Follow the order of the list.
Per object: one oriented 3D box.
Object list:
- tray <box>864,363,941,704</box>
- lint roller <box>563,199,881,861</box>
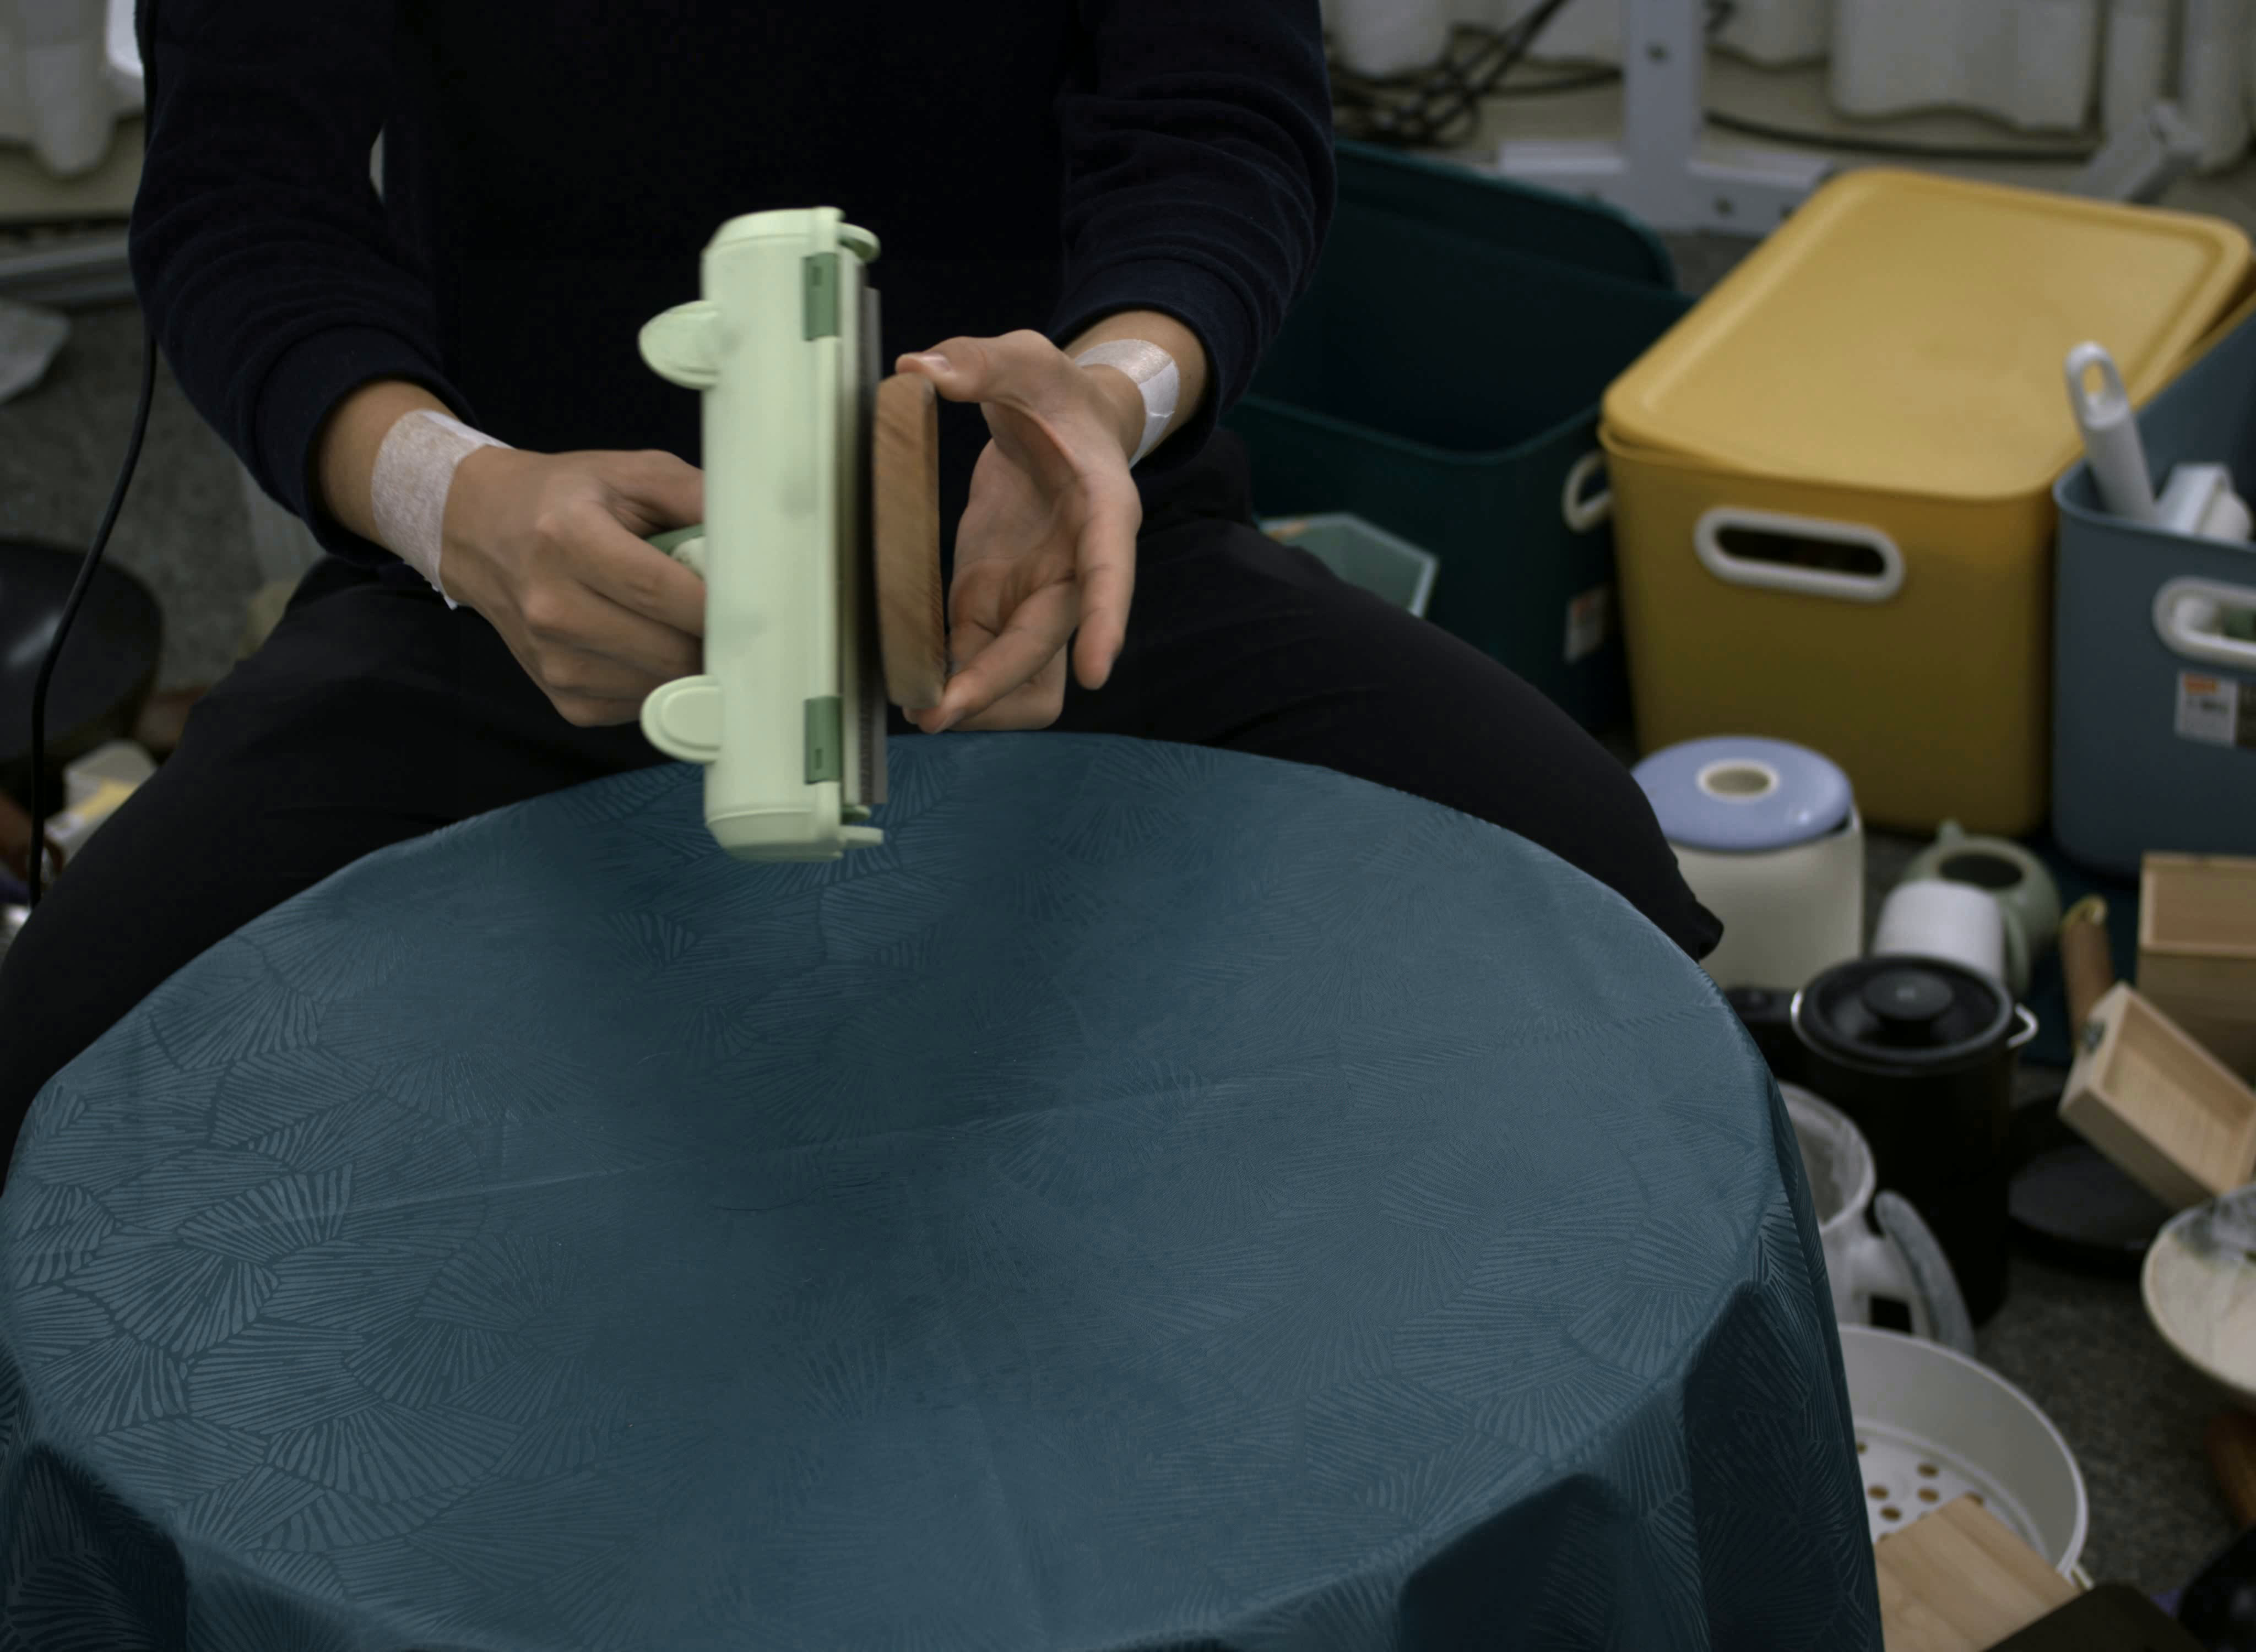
[{"bbox_3d":[-0.069,-0.090,1.742,0.020,0.102,0.231,-1,3,-1],"label":"tray"},{"bbox_3d":[-0.146,-0.082,1.750,0.082,0.200,0.181,7,-13,-39],"label":"lint roller"}]
